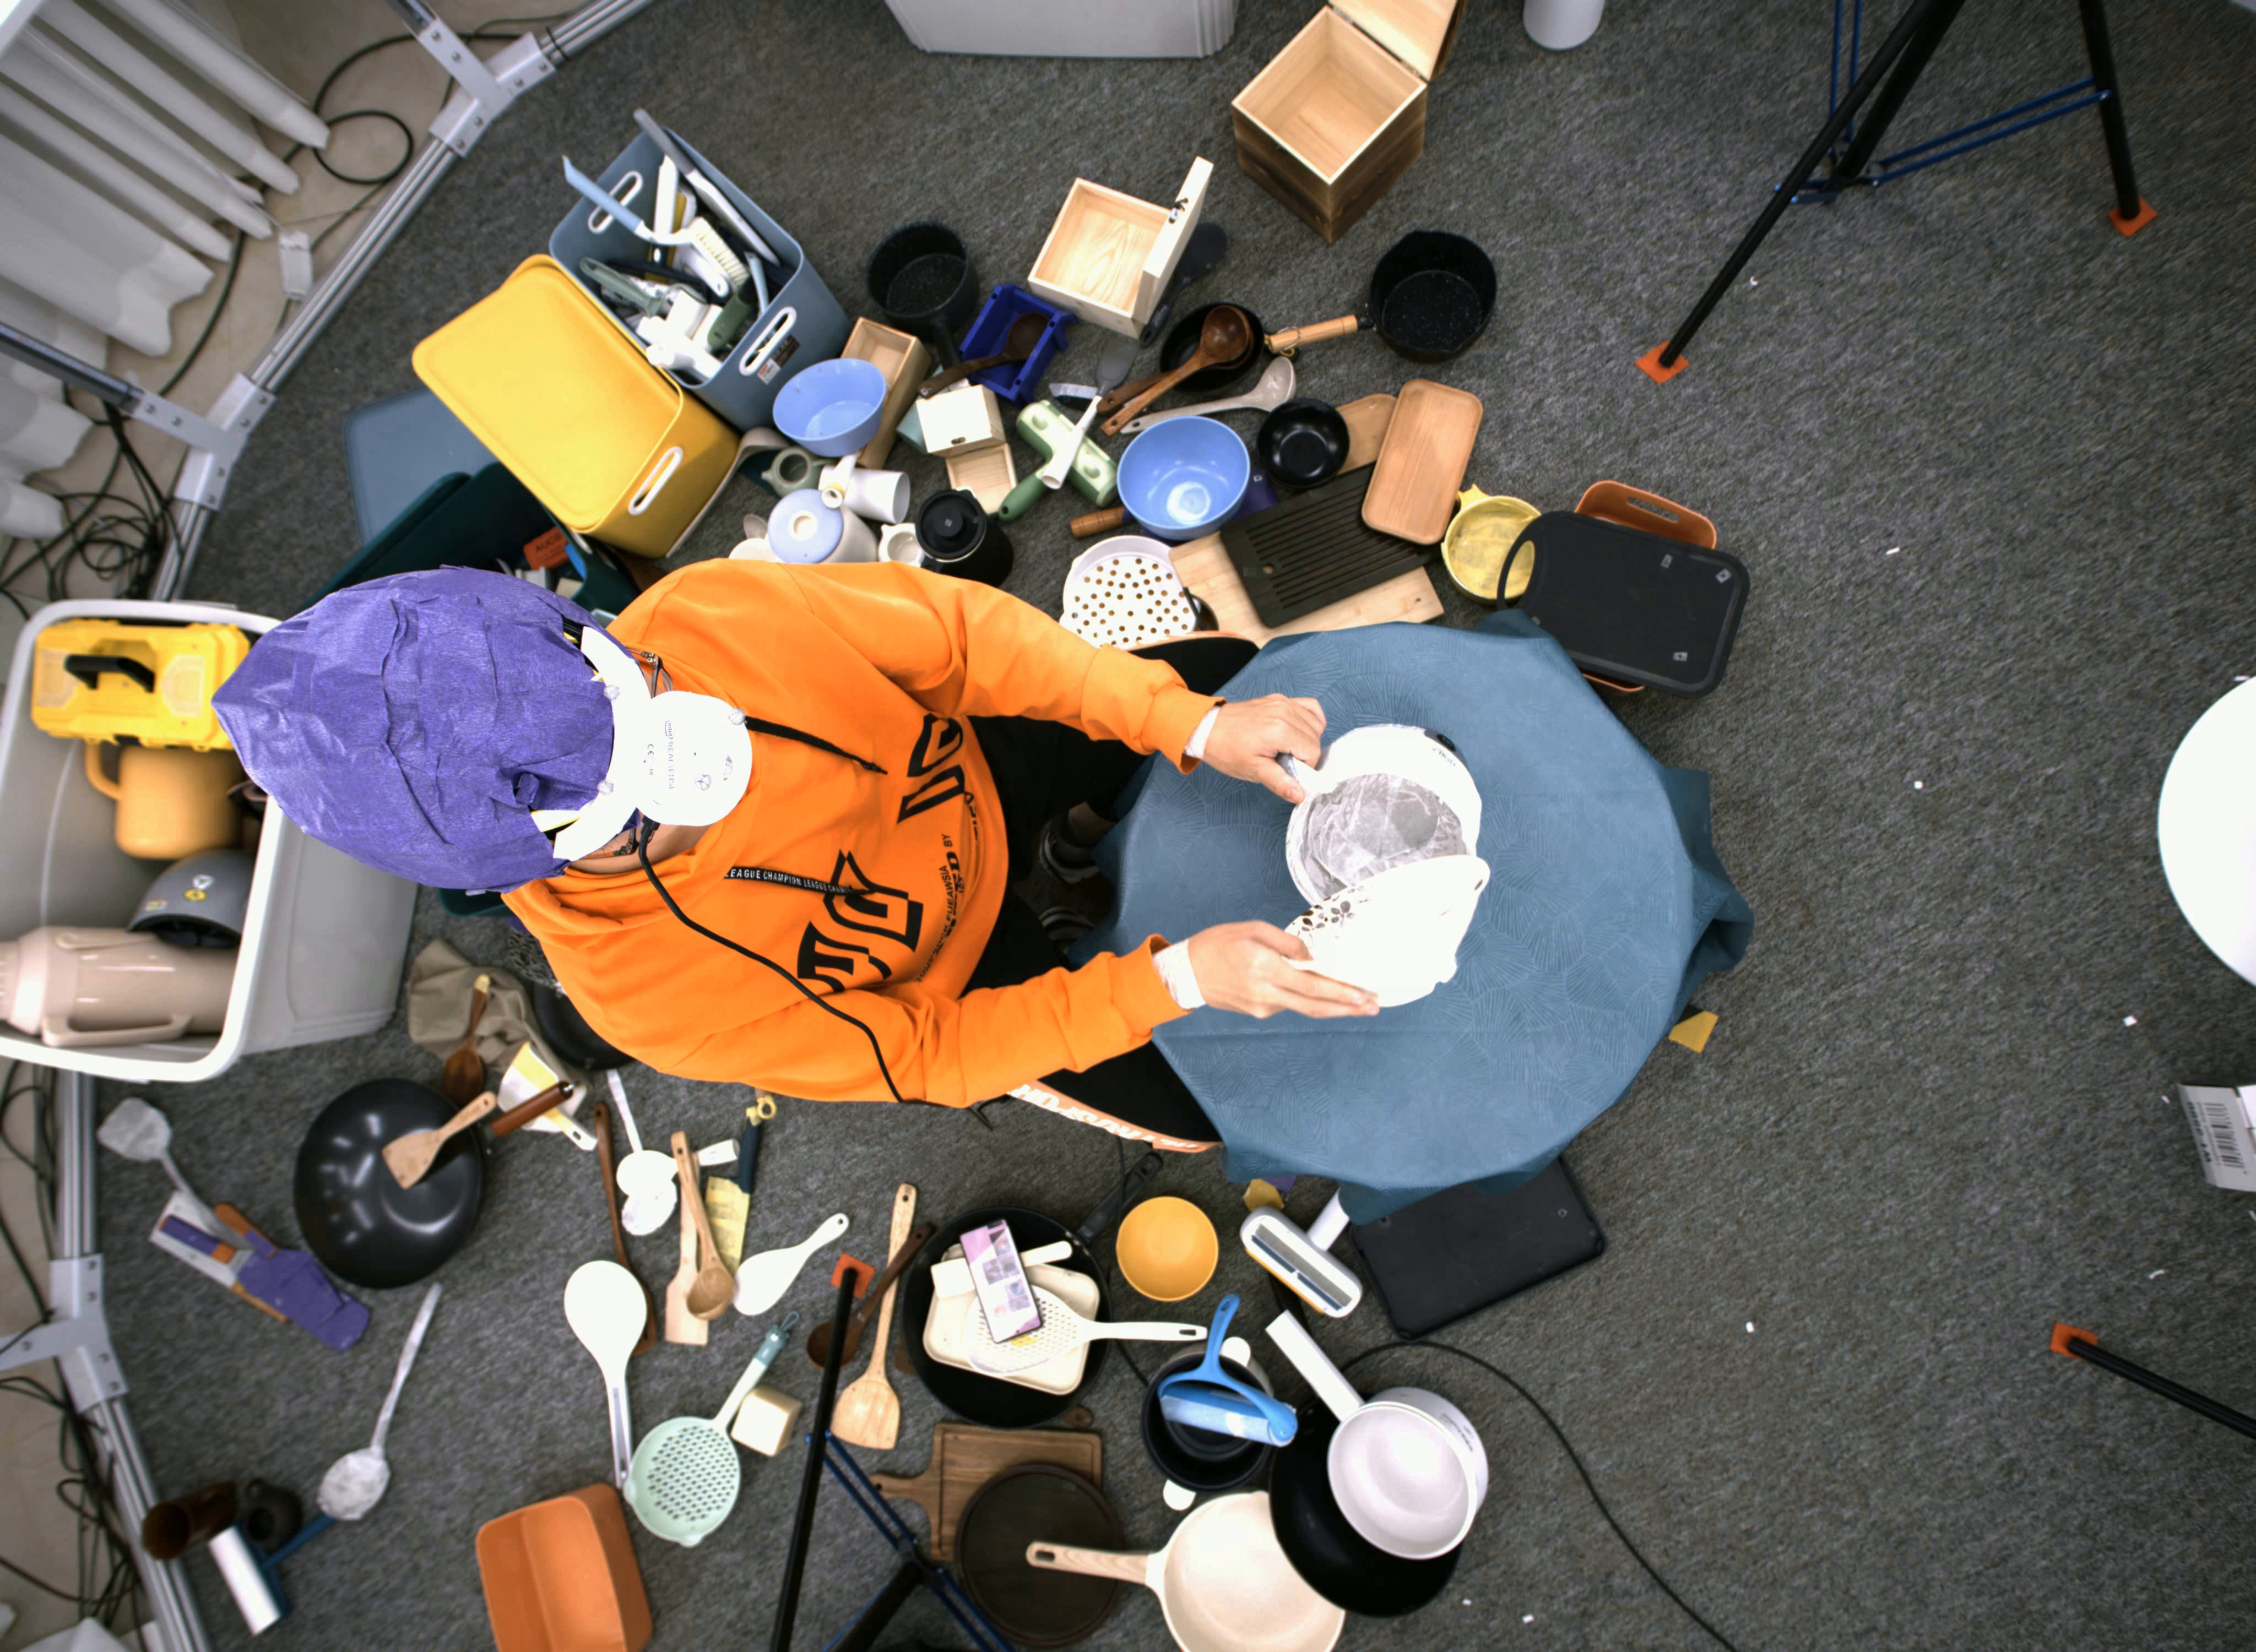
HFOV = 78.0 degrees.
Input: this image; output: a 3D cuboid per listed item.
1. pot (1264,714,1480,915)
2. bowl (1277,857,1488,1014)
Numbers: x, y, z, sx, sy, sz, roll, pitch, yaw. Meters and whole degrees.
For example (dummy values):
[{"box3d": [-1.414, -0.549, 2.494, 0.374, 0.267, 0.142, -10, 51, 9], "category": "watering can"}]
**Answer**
[{"box3d": [0.228, -0.018, 1.338, 0.234, 0.133, 0.182, 34, 120, -3], "category": "pot"}, {"box3d": [0.239, 0.109, 1.222, 0.205, 0.202, 0.078, -29, 99, 6], "category": "bowl"}]
